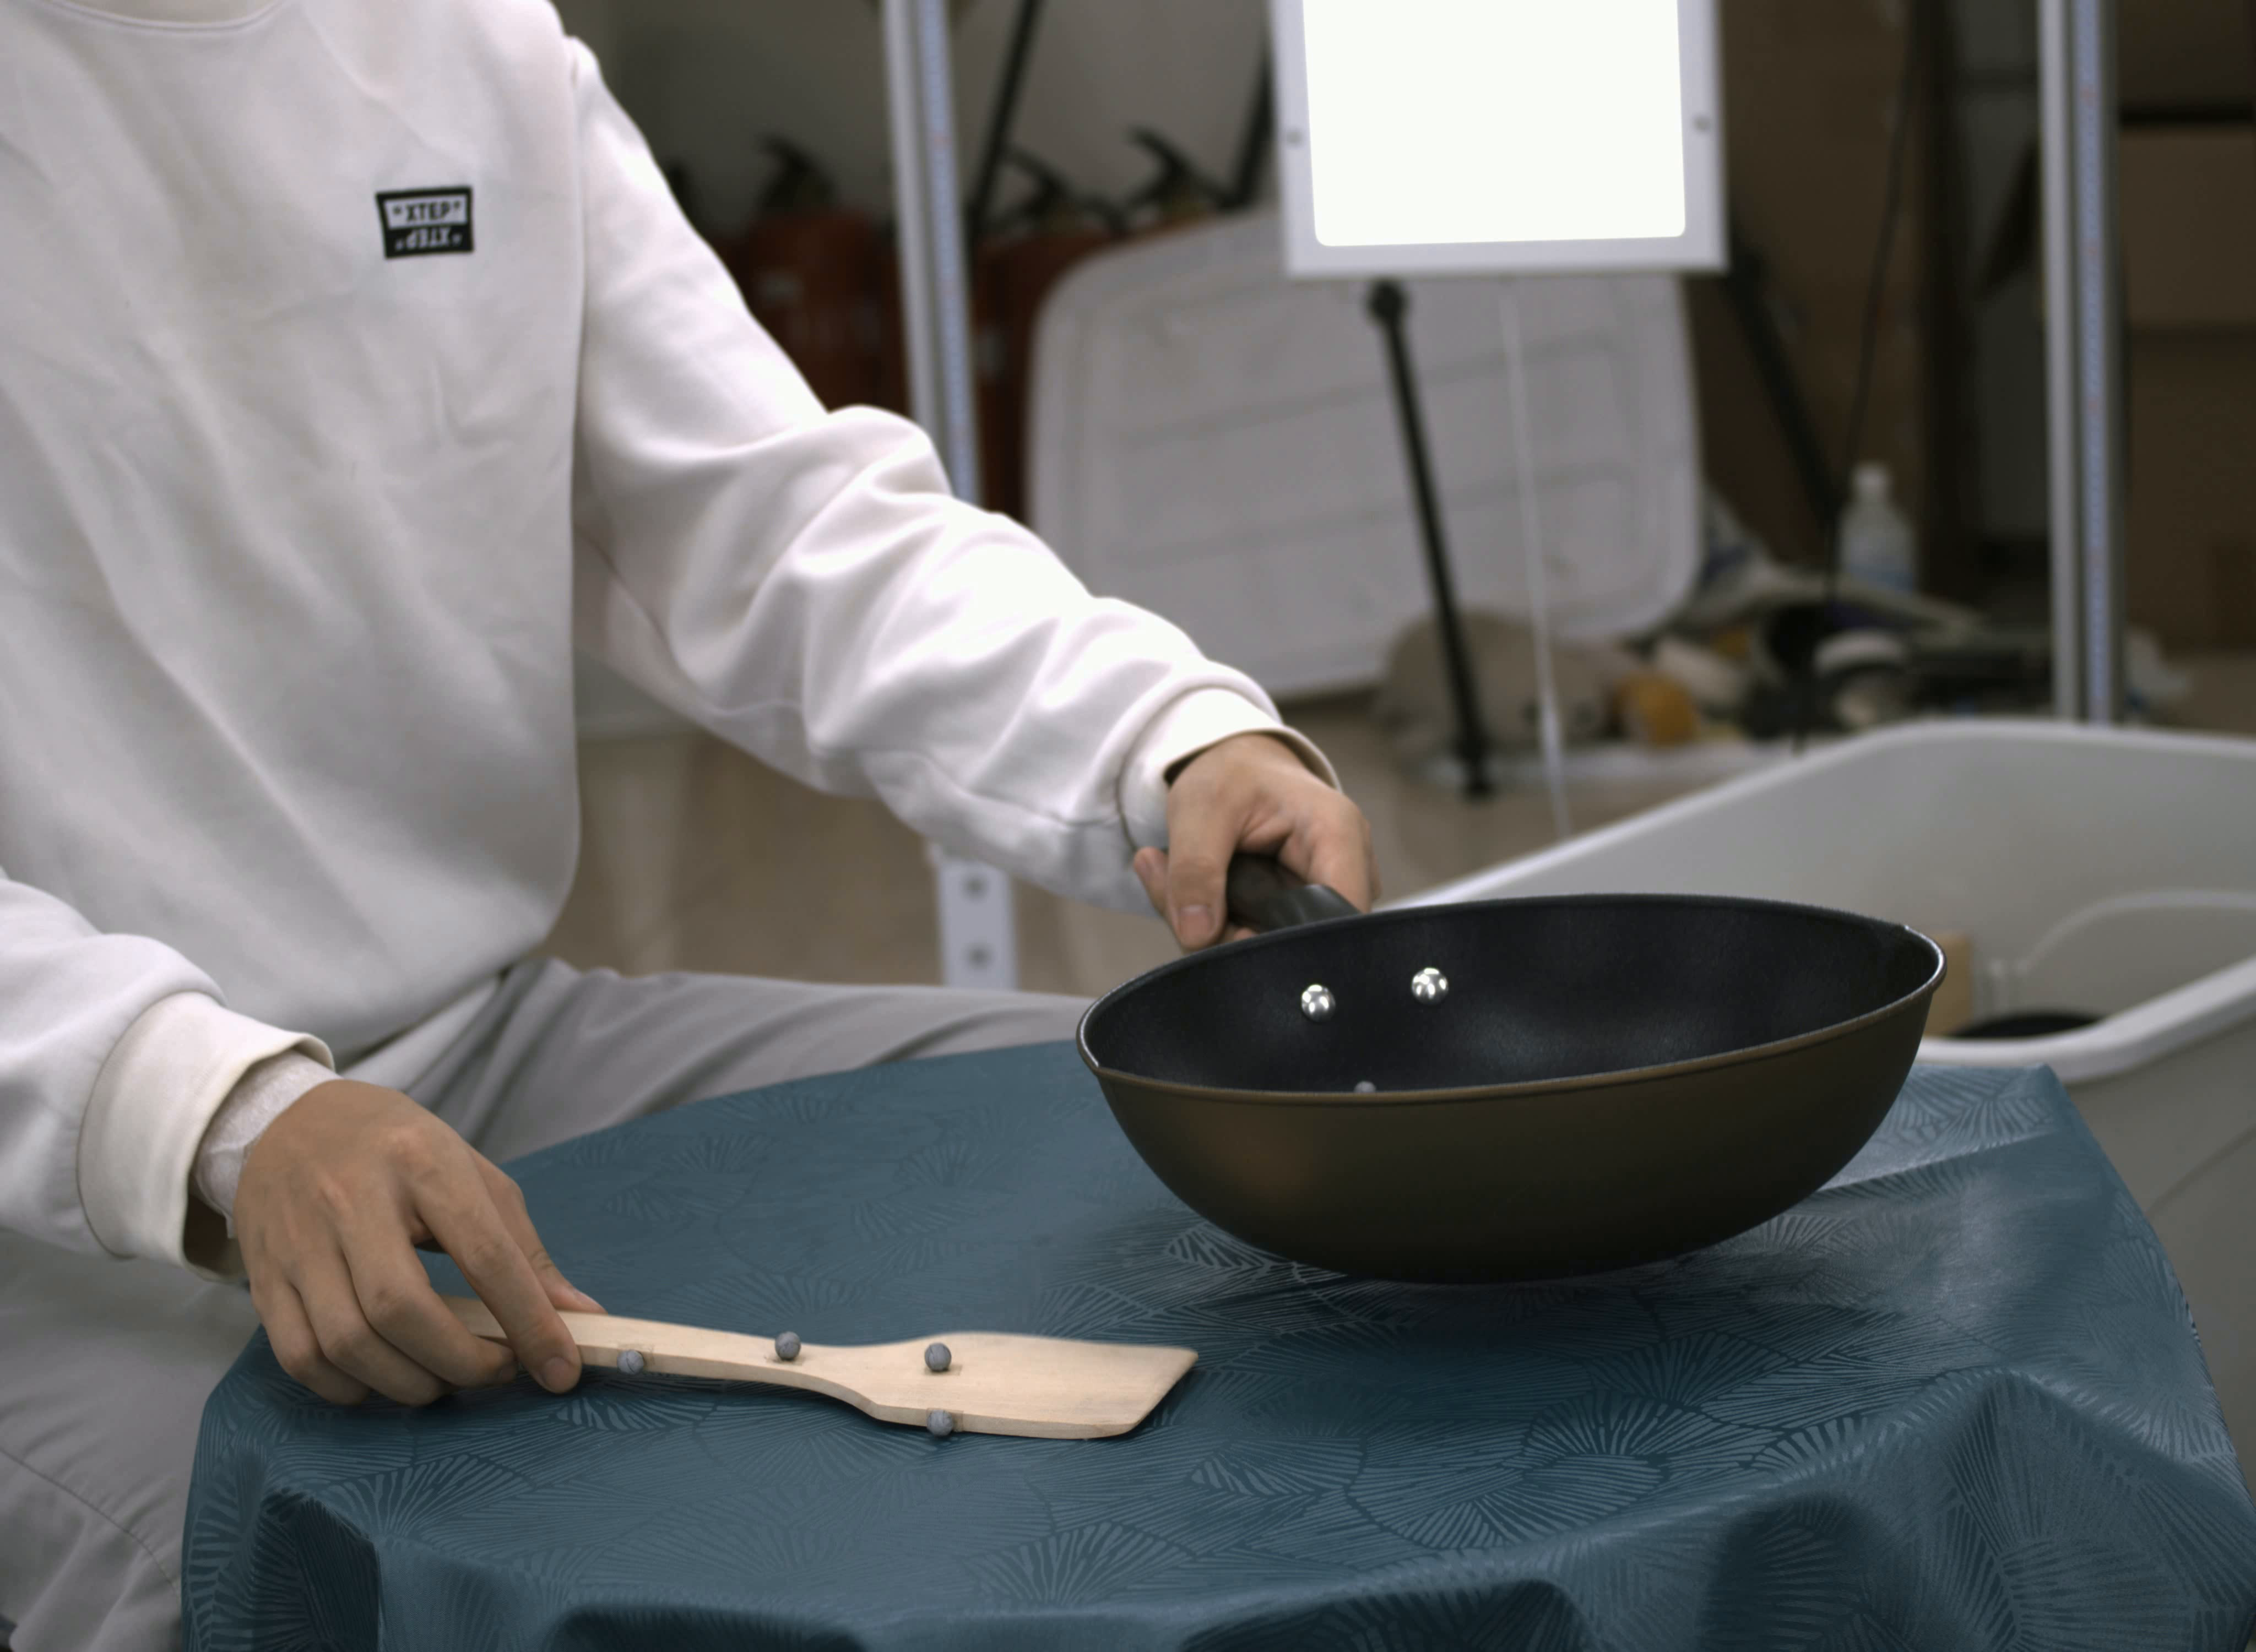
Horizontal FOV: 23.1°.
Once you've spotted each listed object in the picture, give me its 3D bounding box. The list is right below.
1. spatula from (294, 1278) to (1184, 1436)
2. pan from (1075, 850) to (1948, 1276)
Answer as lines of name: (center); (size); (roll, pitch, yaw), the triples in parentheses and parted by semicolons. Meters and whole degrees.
spatula: (-0.129, 0.164, 1.737); (0.297, 0.011, 0.071); (4, 19, 20)
pan: (0.098, 0.075, 1.864); (0.284, 0.087, 0.469); (-9, 10, -16)
